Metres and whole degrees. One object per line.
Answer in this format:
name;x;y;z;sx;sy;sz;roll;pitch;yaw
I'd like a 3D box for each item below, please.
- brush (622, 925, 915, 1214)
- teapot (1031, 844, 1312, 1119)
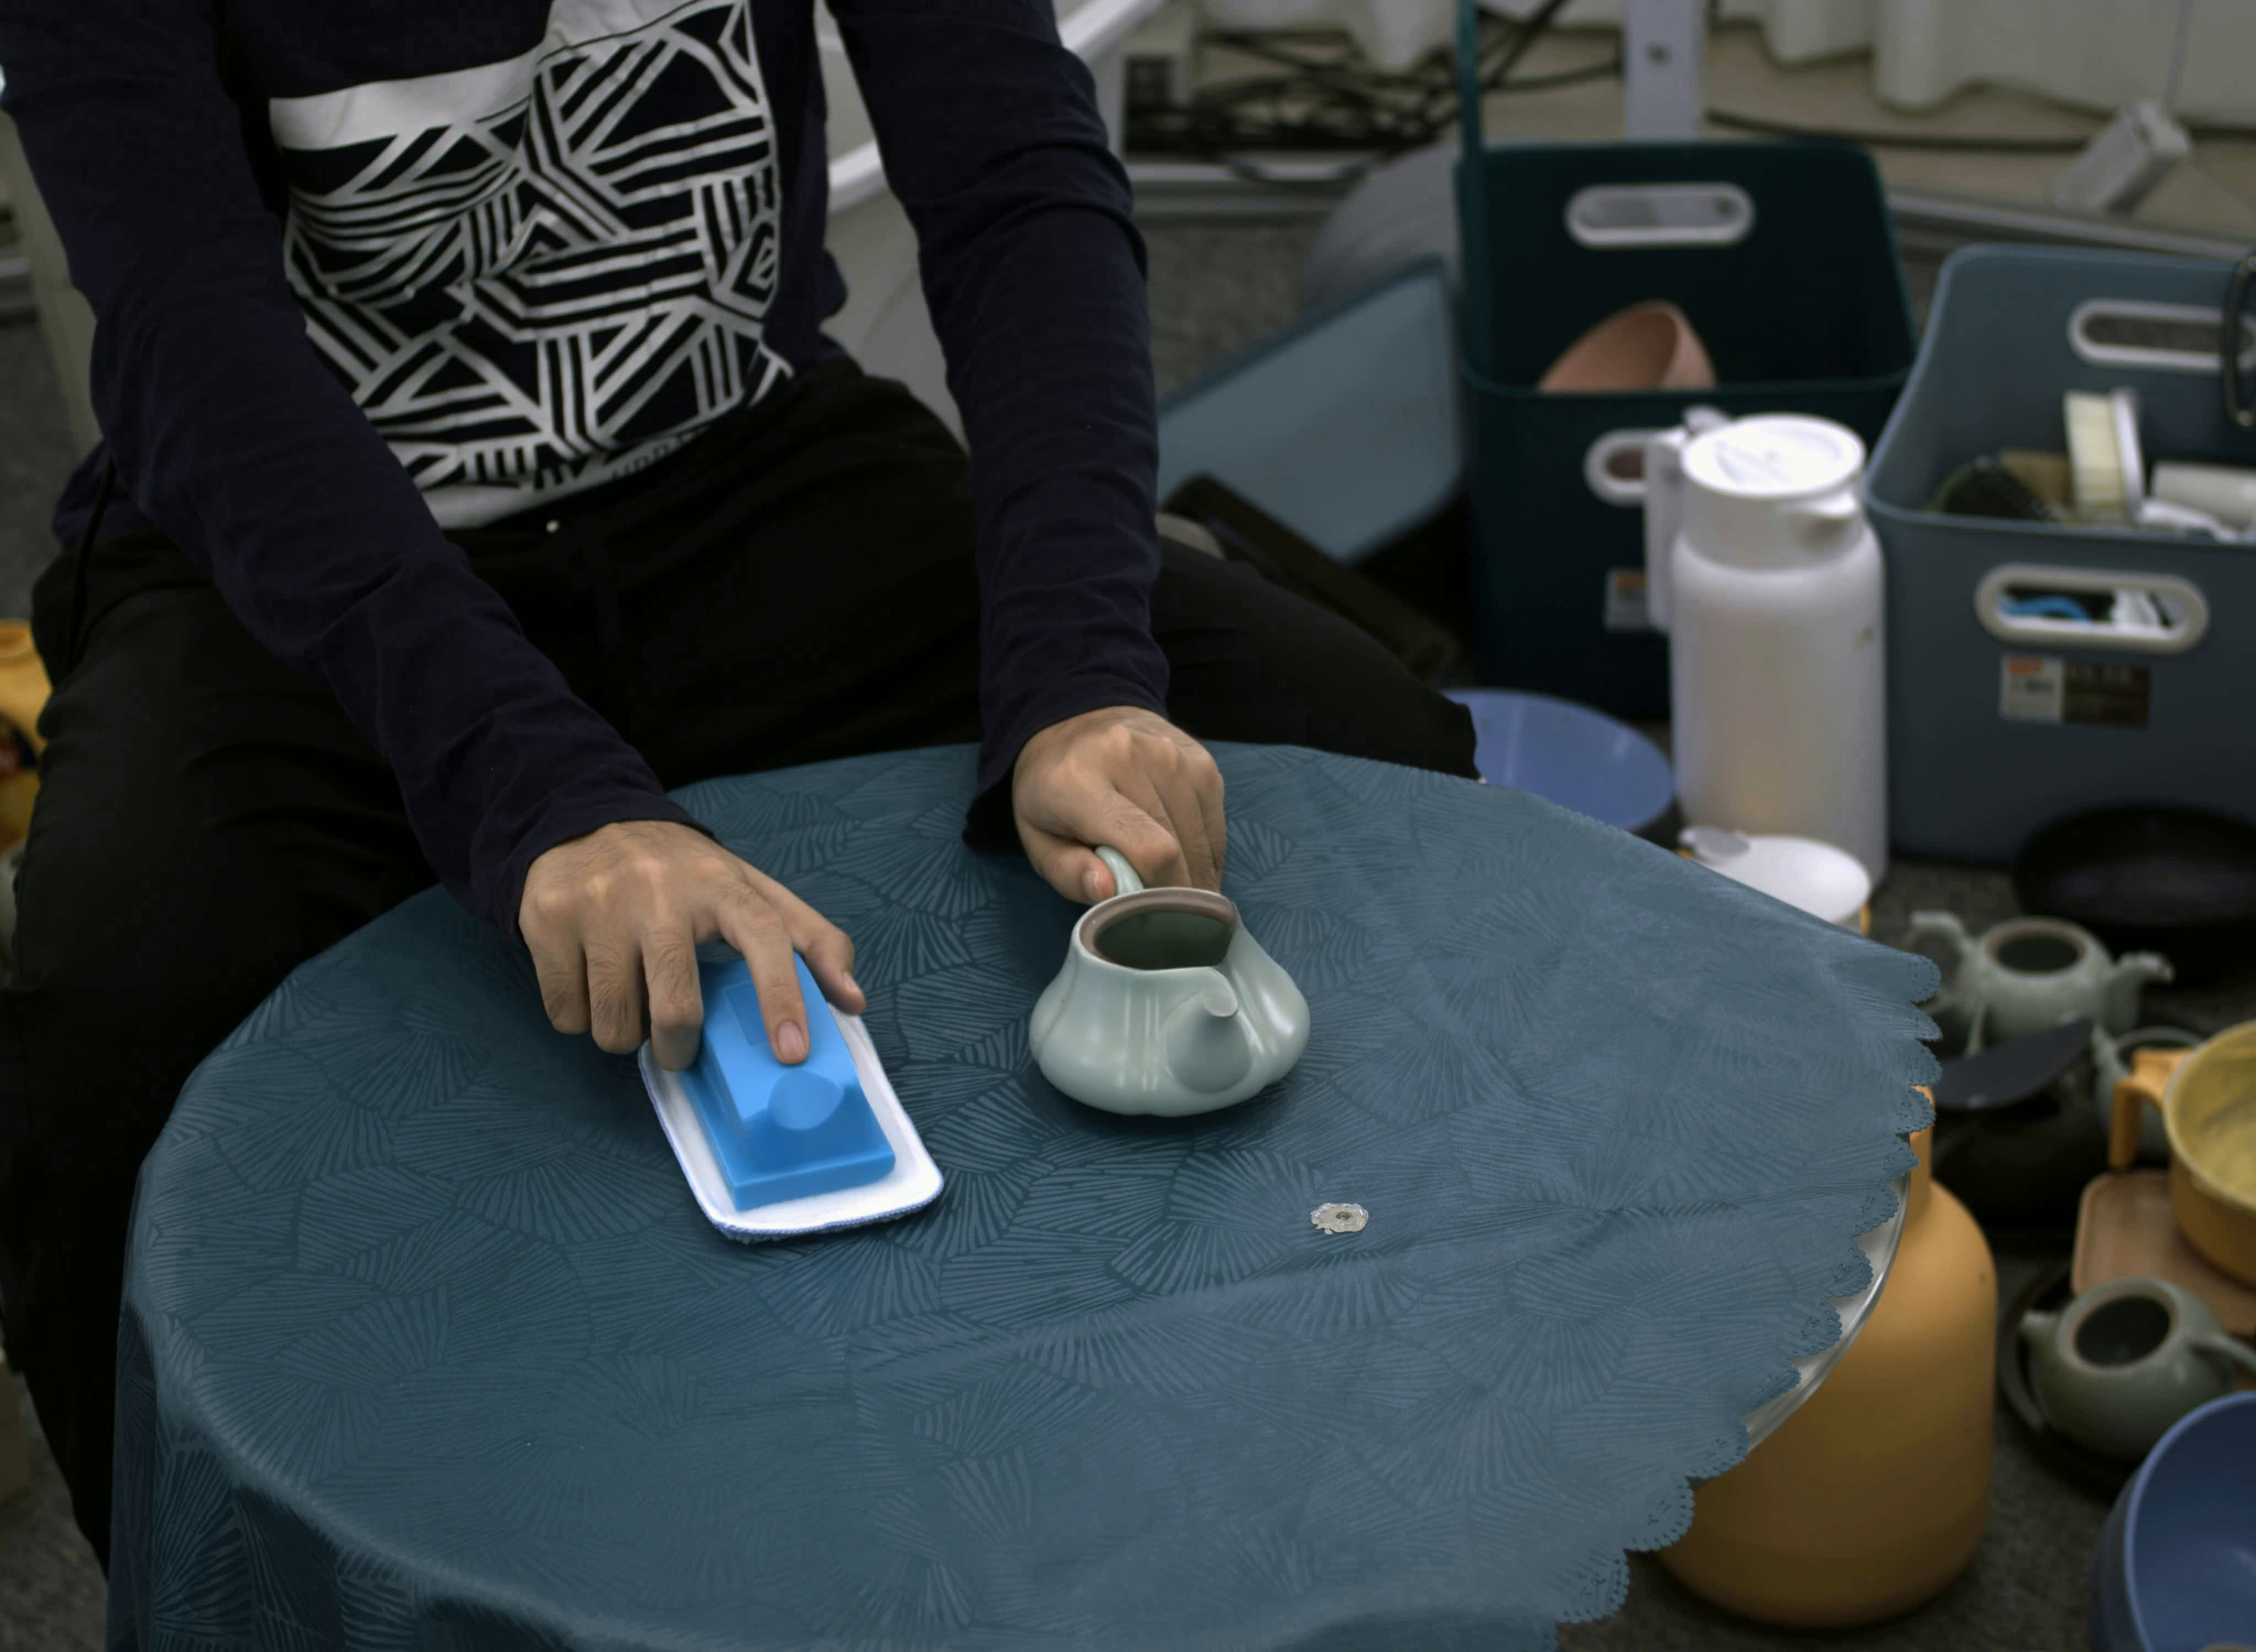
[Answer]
brush;-0.121;0.078;1.891;0.084;0.055;0.145;-6;29;-13
teapot;0.012;0.056;1.920;0.096;0.061;0.138;-13;30;-15
